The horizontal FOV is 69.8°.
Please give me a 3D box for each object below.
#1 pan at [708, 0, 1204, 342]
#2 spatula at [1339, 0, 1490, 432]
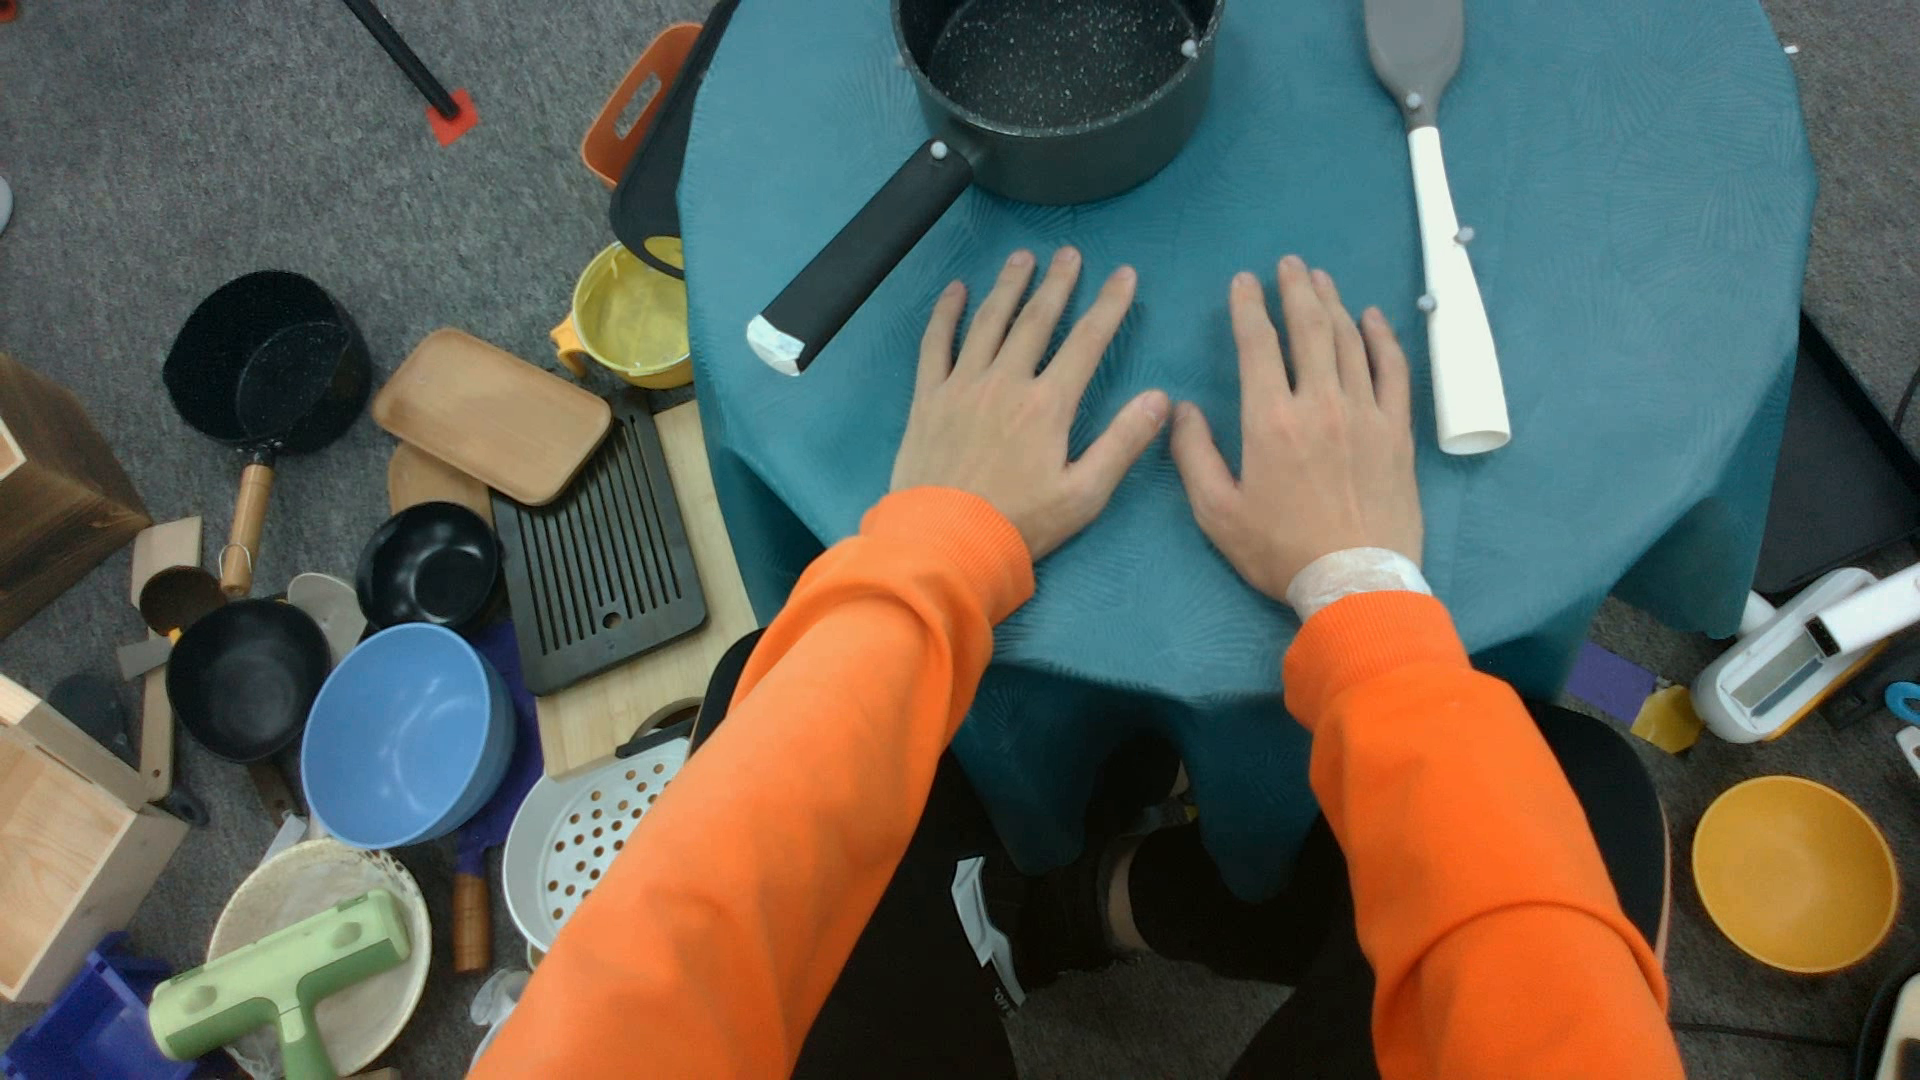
[{"bbox_3d":[-0.004,-0.216,0.720,0.172,0.086,0.329,35,77,17],"label":"pan"},{"bbox_3d":[0.236,-0.194,0.712,0.058,0.032,0.288,-4,72,9],"label":"spatula"}]
